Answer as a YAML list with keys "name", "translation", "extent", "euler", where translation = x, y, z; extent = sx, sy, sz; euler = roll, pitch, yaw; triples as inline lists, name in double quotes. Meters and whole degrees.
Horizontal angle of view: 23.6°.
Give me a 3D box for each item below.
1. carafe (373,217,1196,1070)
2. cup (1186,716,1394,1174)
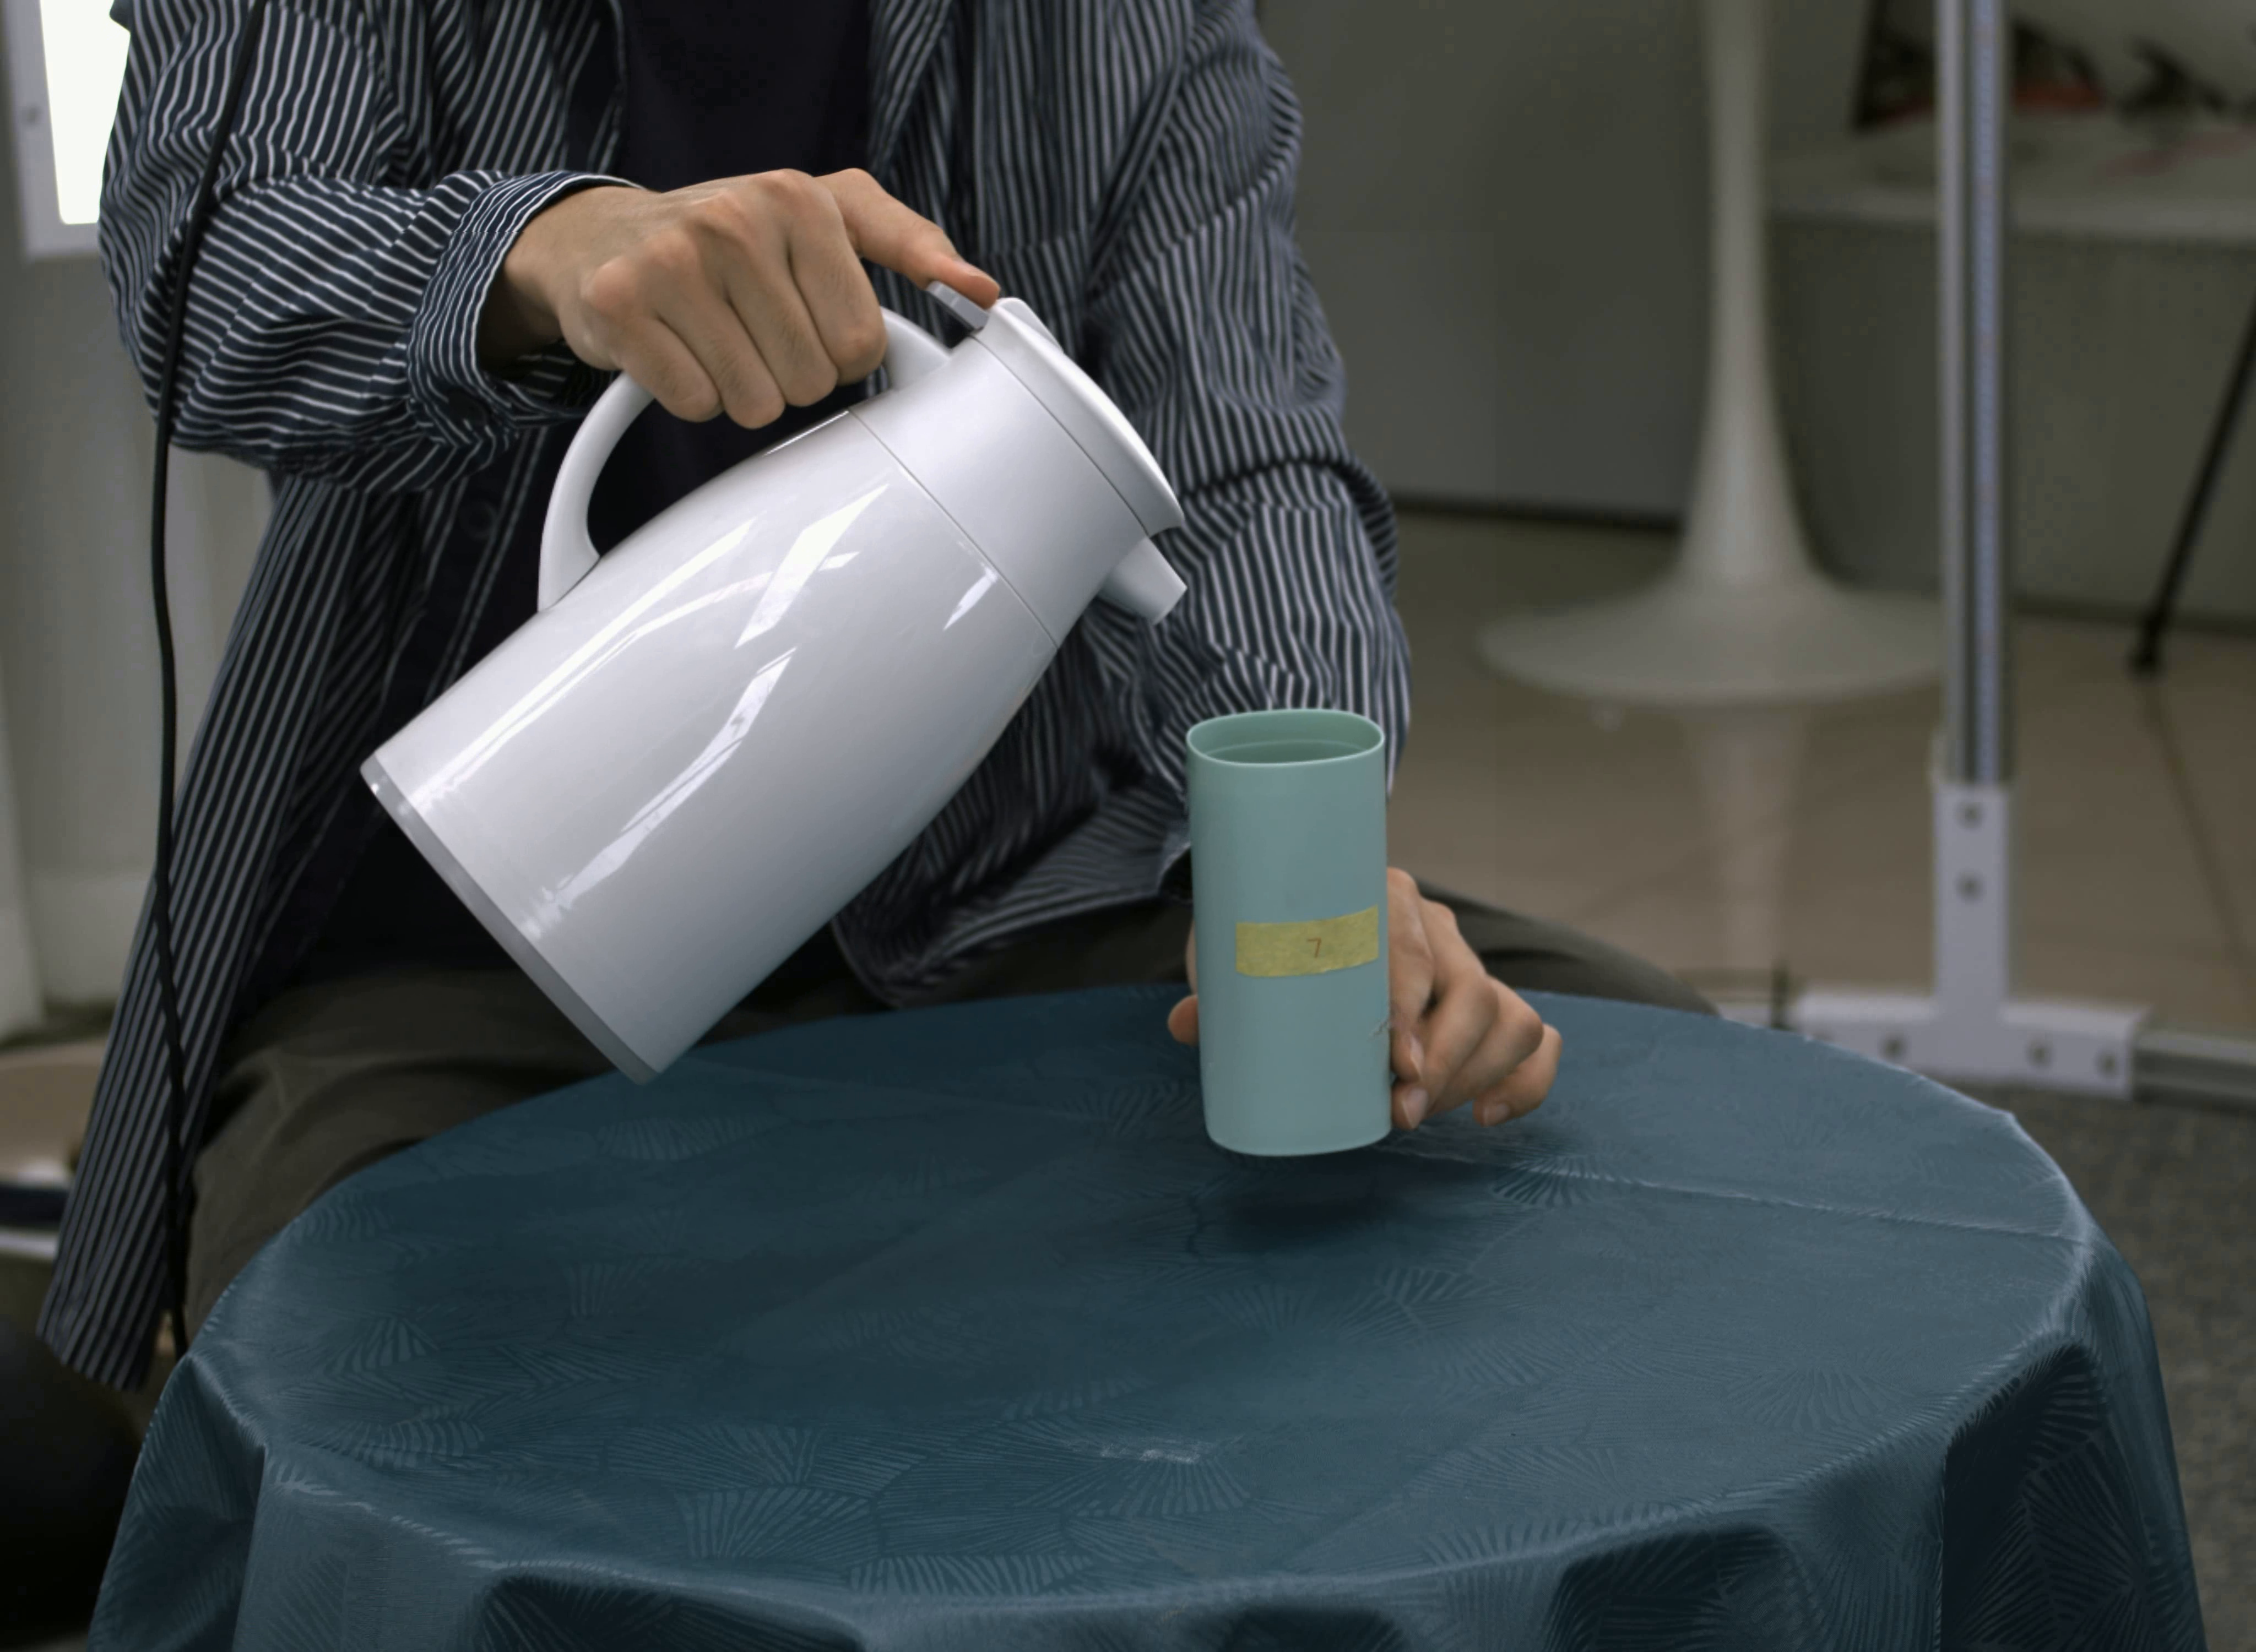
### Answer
- name: "carafe"
  translation: [-0.107, -0.072, 1.642]
  extent: [0.248, 0.167, 0.133]
  euler: [-43, 9, -1]
- name: "cup"
  translation: [0.052, 0.036, 1.706]
  extent: [0.066, 0.134, 0.067]
  euler: [-3, 15, 0]
